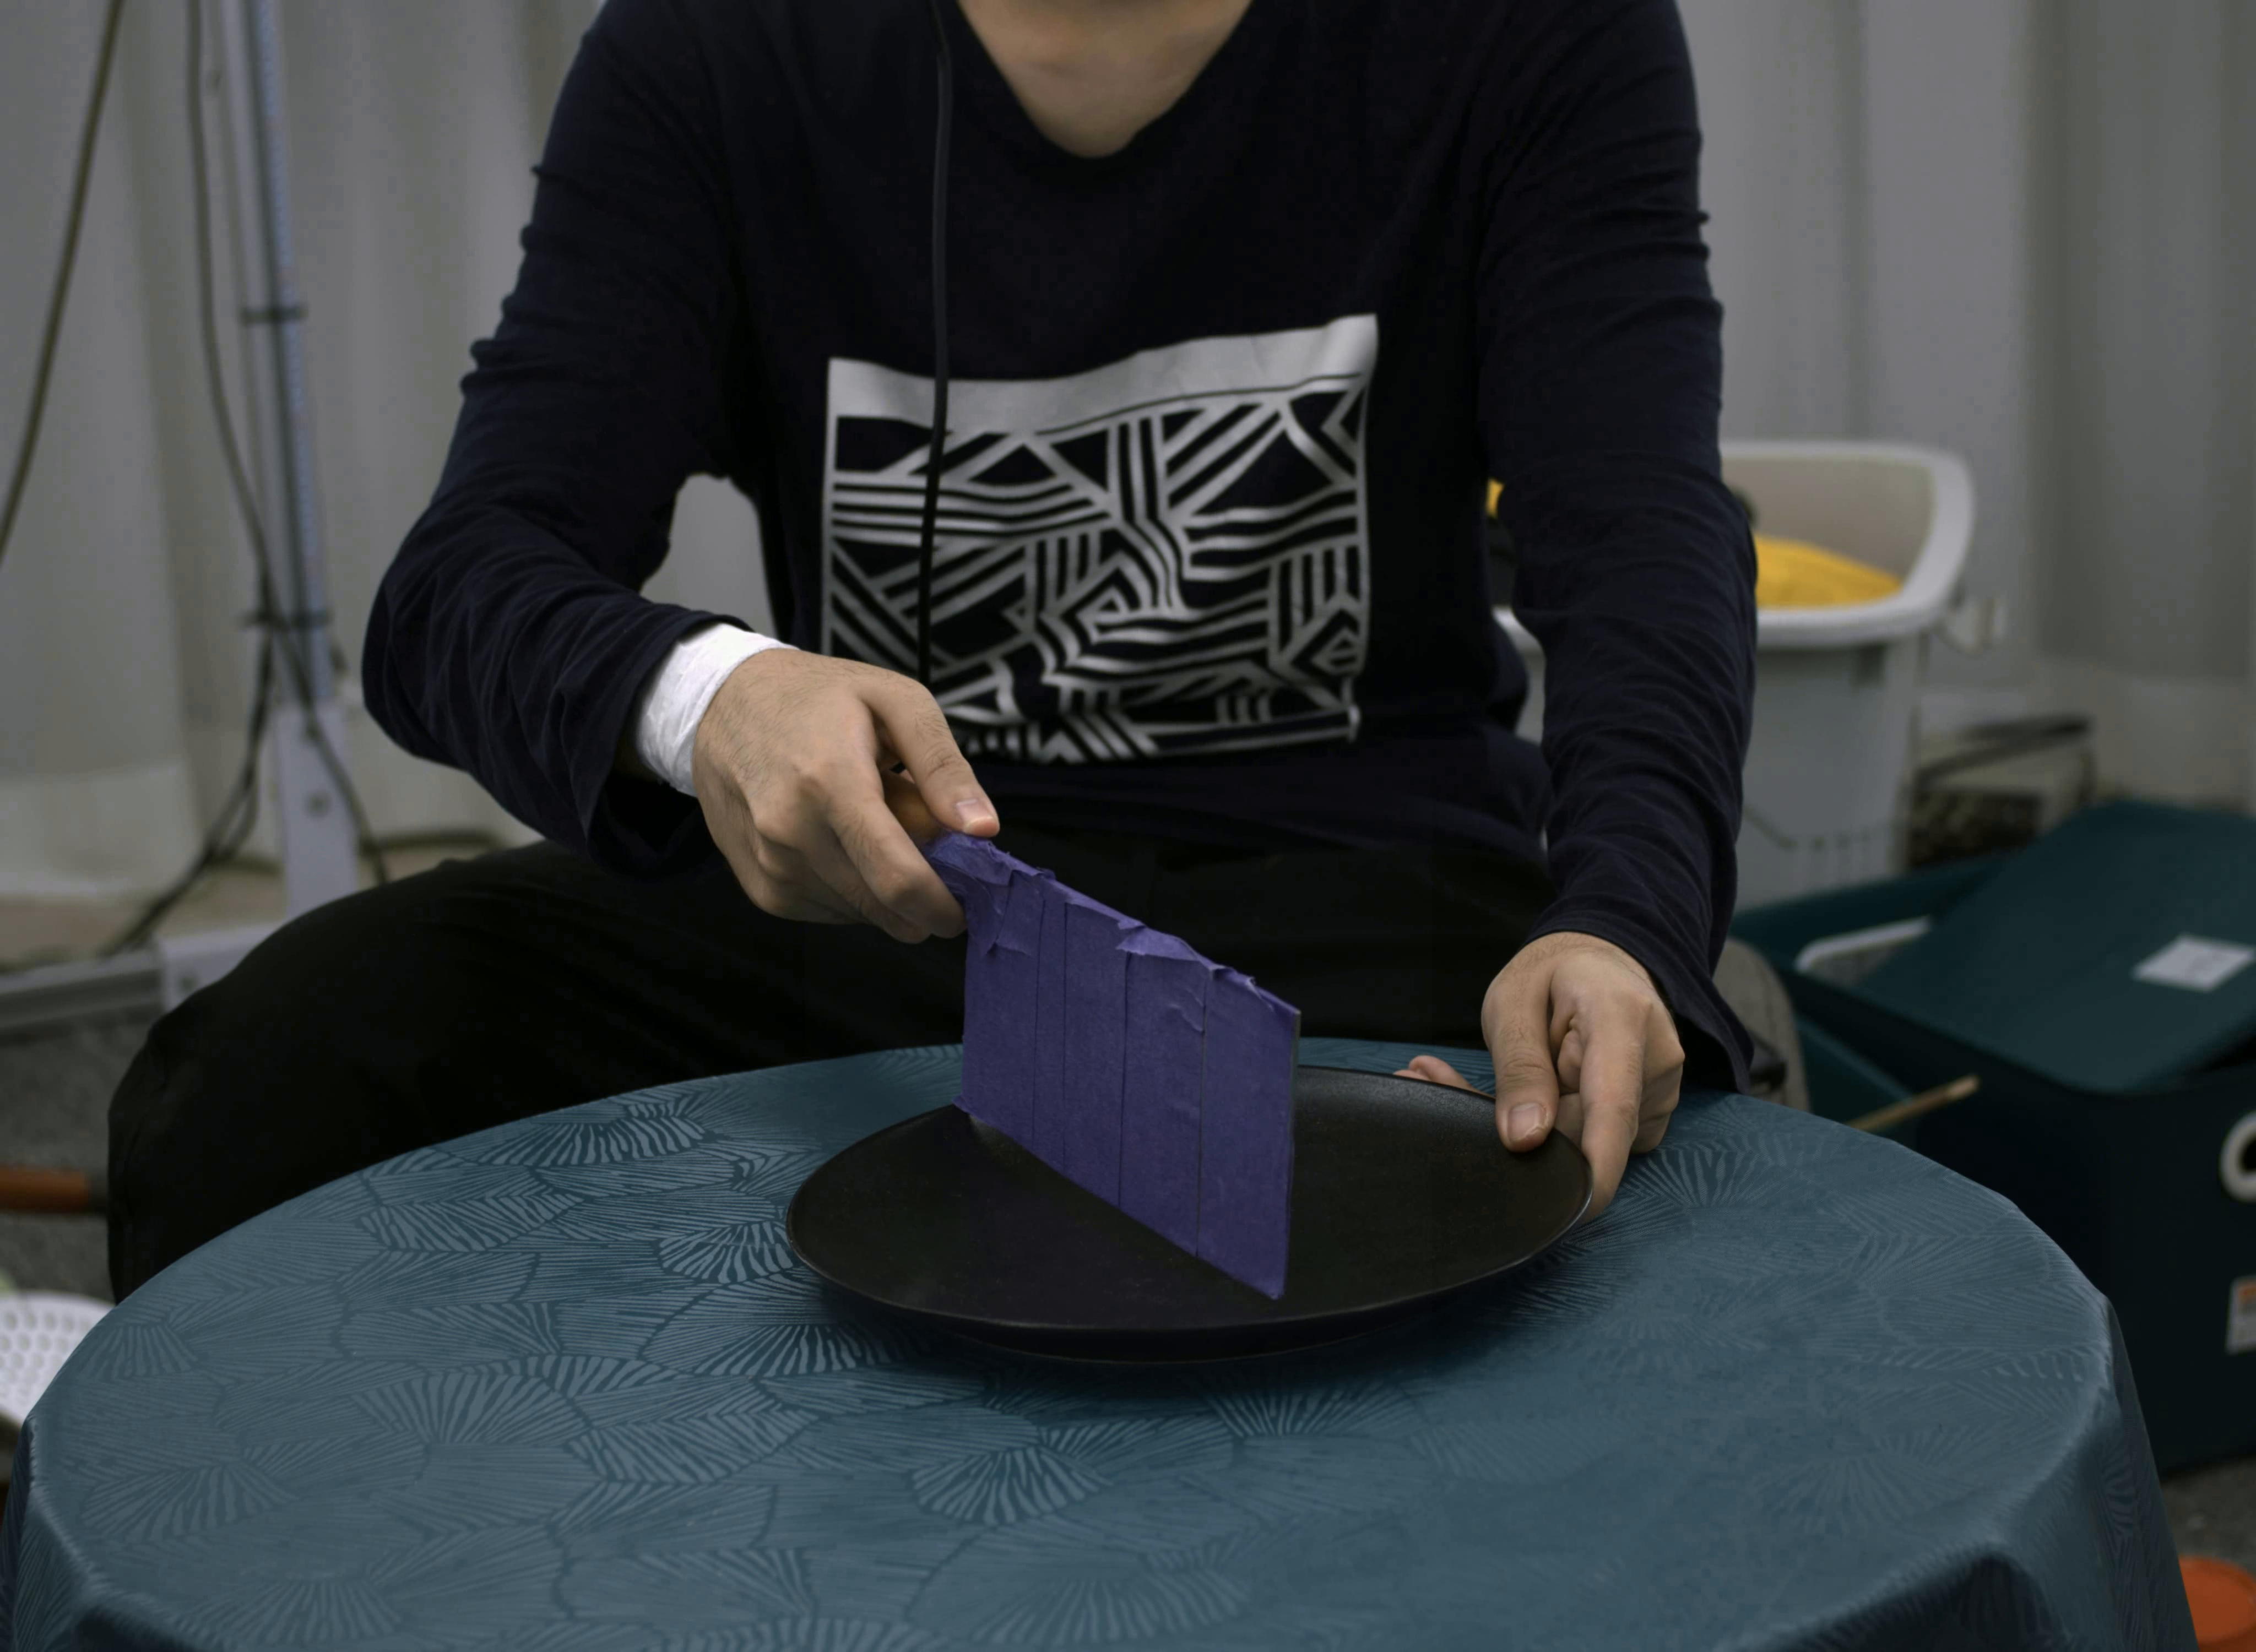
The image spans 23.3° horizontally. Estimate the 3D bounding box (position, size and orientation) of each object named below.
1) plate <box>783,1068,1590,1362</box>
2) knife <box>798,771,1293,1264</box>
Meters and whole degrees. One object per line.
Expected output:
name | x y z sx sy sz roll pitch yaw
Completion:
plate | 0.018 0.119 1.648 0.243 0.023 0.246 -3 15 1
knife | -0.030 0.057 1.685 0.032 0.103 0.318 -2 13 -26
